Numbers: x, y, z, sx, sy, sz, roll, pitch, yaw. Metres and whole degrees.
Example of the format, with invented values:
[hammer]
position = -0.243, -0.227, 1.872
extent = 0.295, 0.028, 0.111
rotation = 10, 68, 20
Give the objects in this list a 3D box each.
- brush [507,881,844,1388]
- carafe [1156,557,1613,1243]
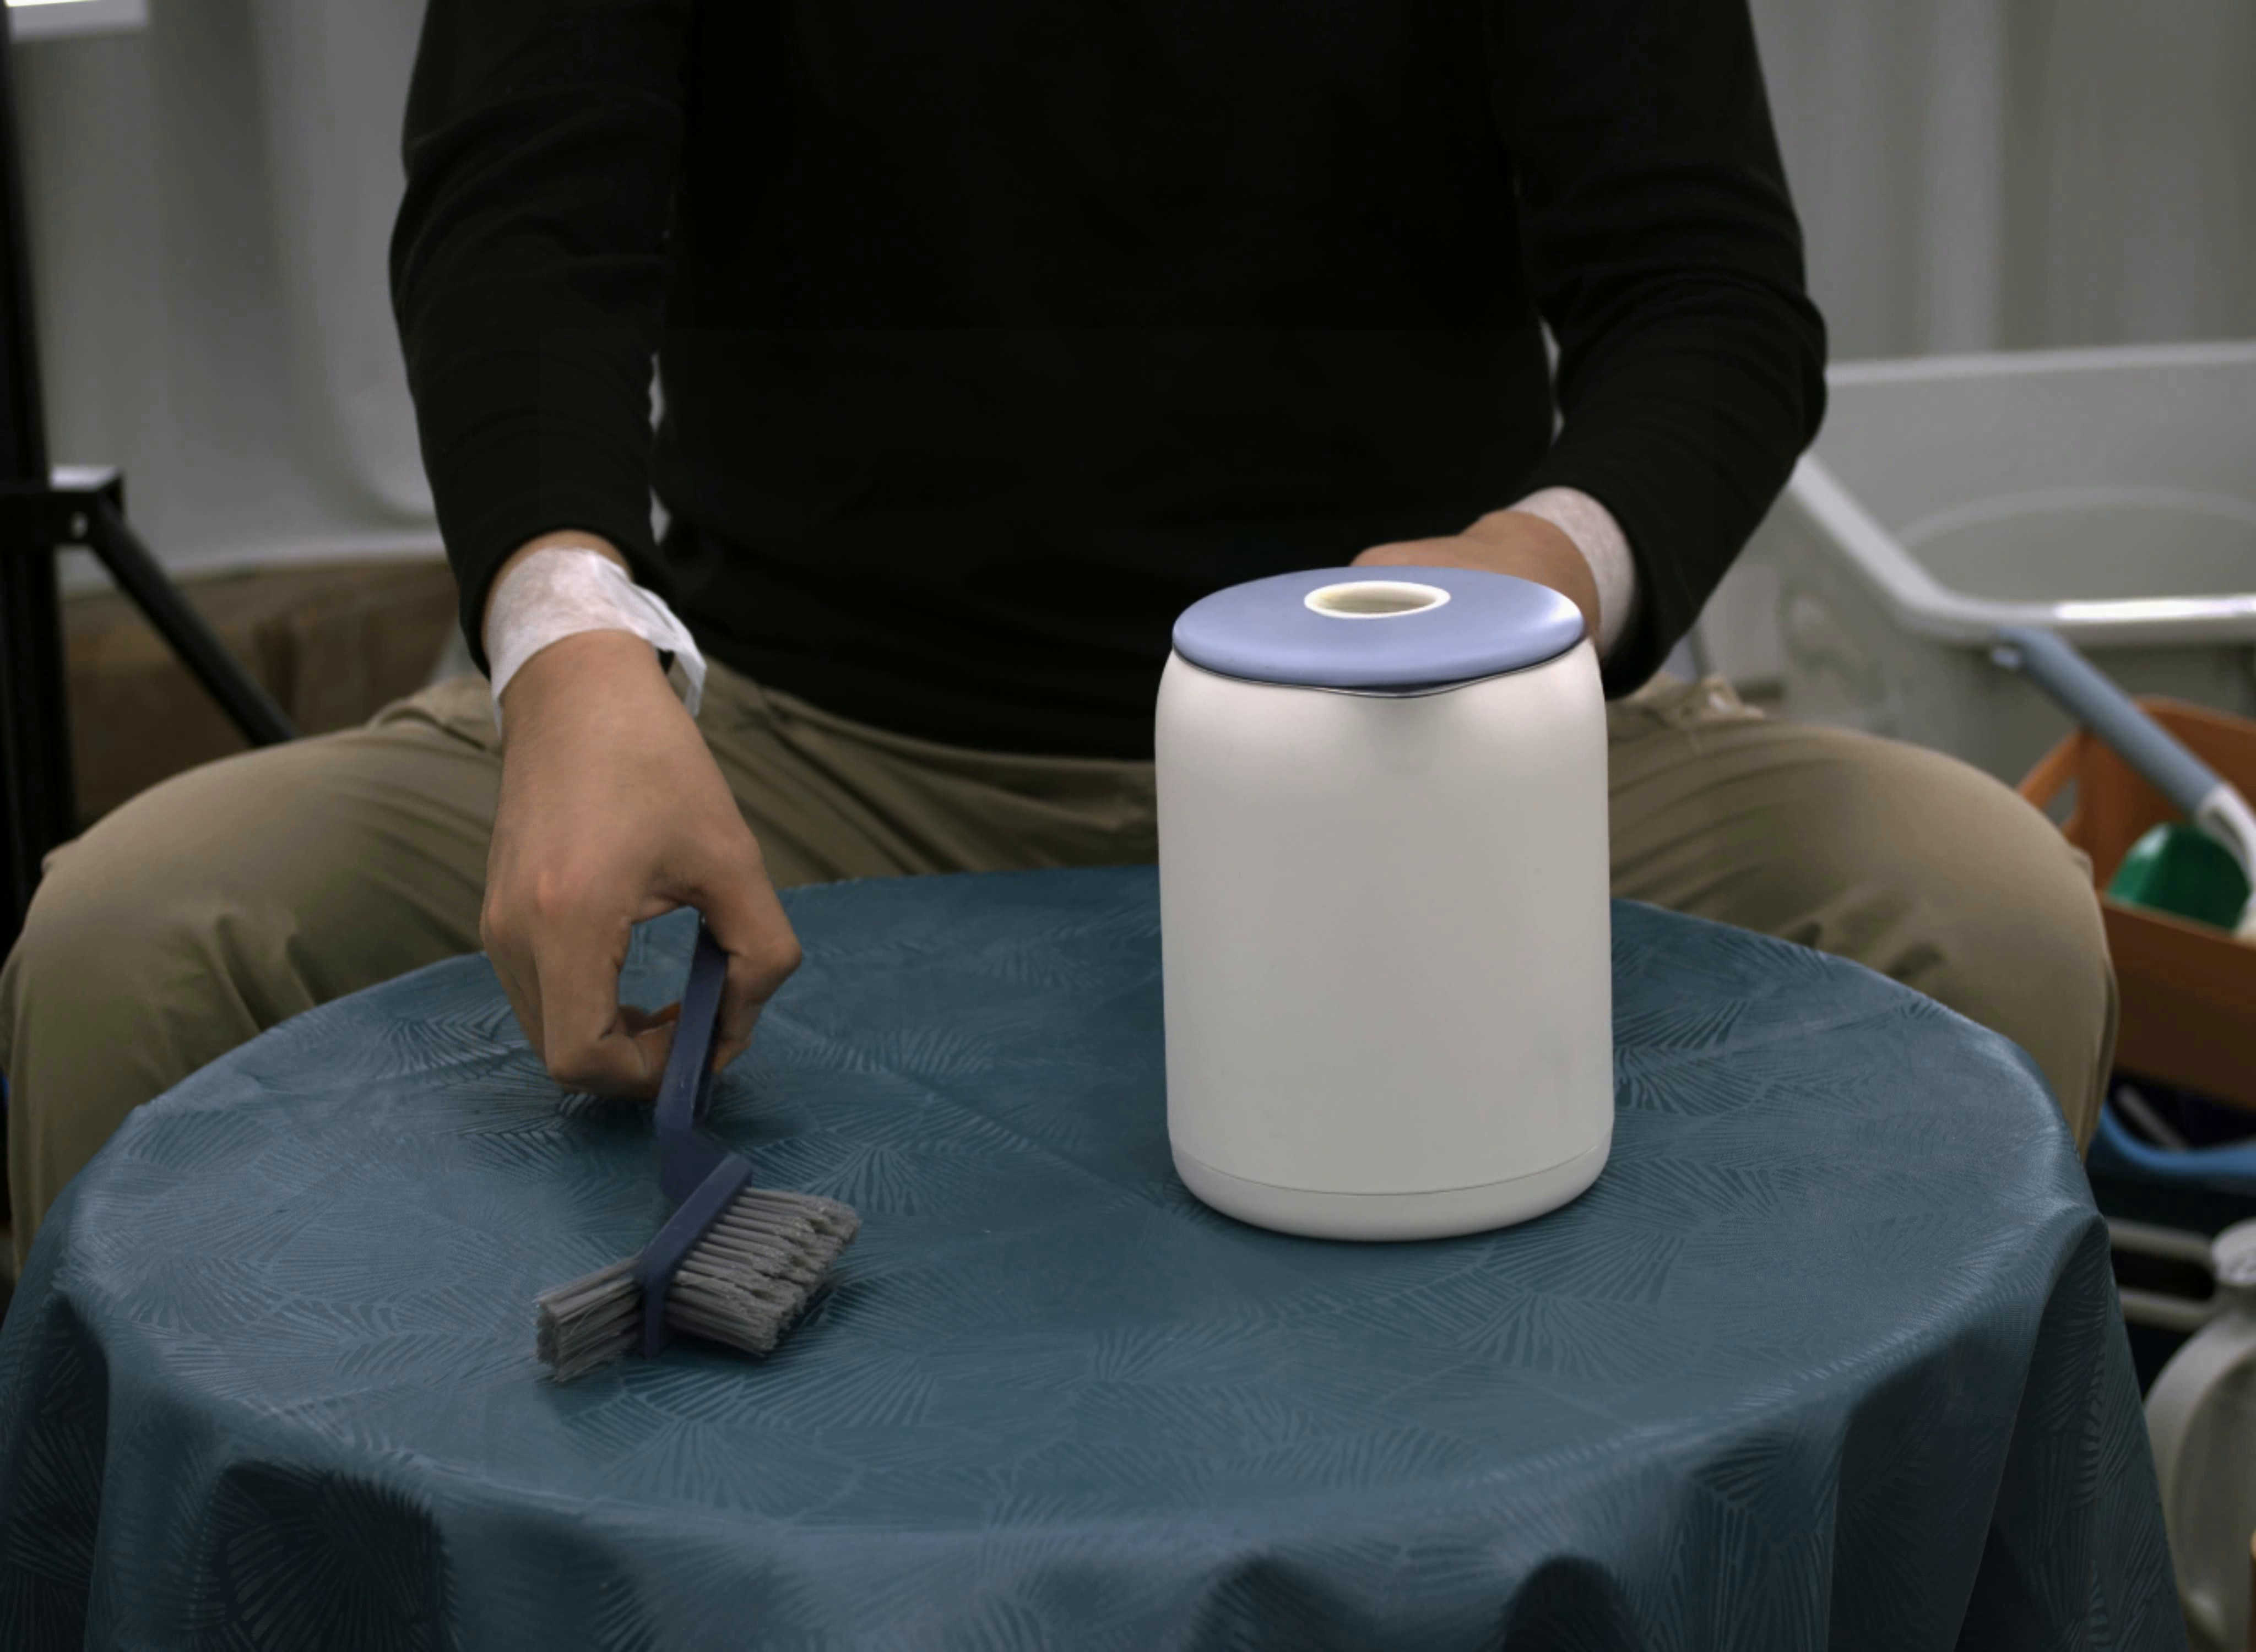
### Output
[brush]
position = -0.135, 0.086, 1.559
extent = 0.095, 0.033, 0.276
rotation = -4, 23, -5
[carafe]
position = 0.072, 0.014, 1.562
extent = 0.131, 0.182, 0.192
rotation = -3, 14, -5
